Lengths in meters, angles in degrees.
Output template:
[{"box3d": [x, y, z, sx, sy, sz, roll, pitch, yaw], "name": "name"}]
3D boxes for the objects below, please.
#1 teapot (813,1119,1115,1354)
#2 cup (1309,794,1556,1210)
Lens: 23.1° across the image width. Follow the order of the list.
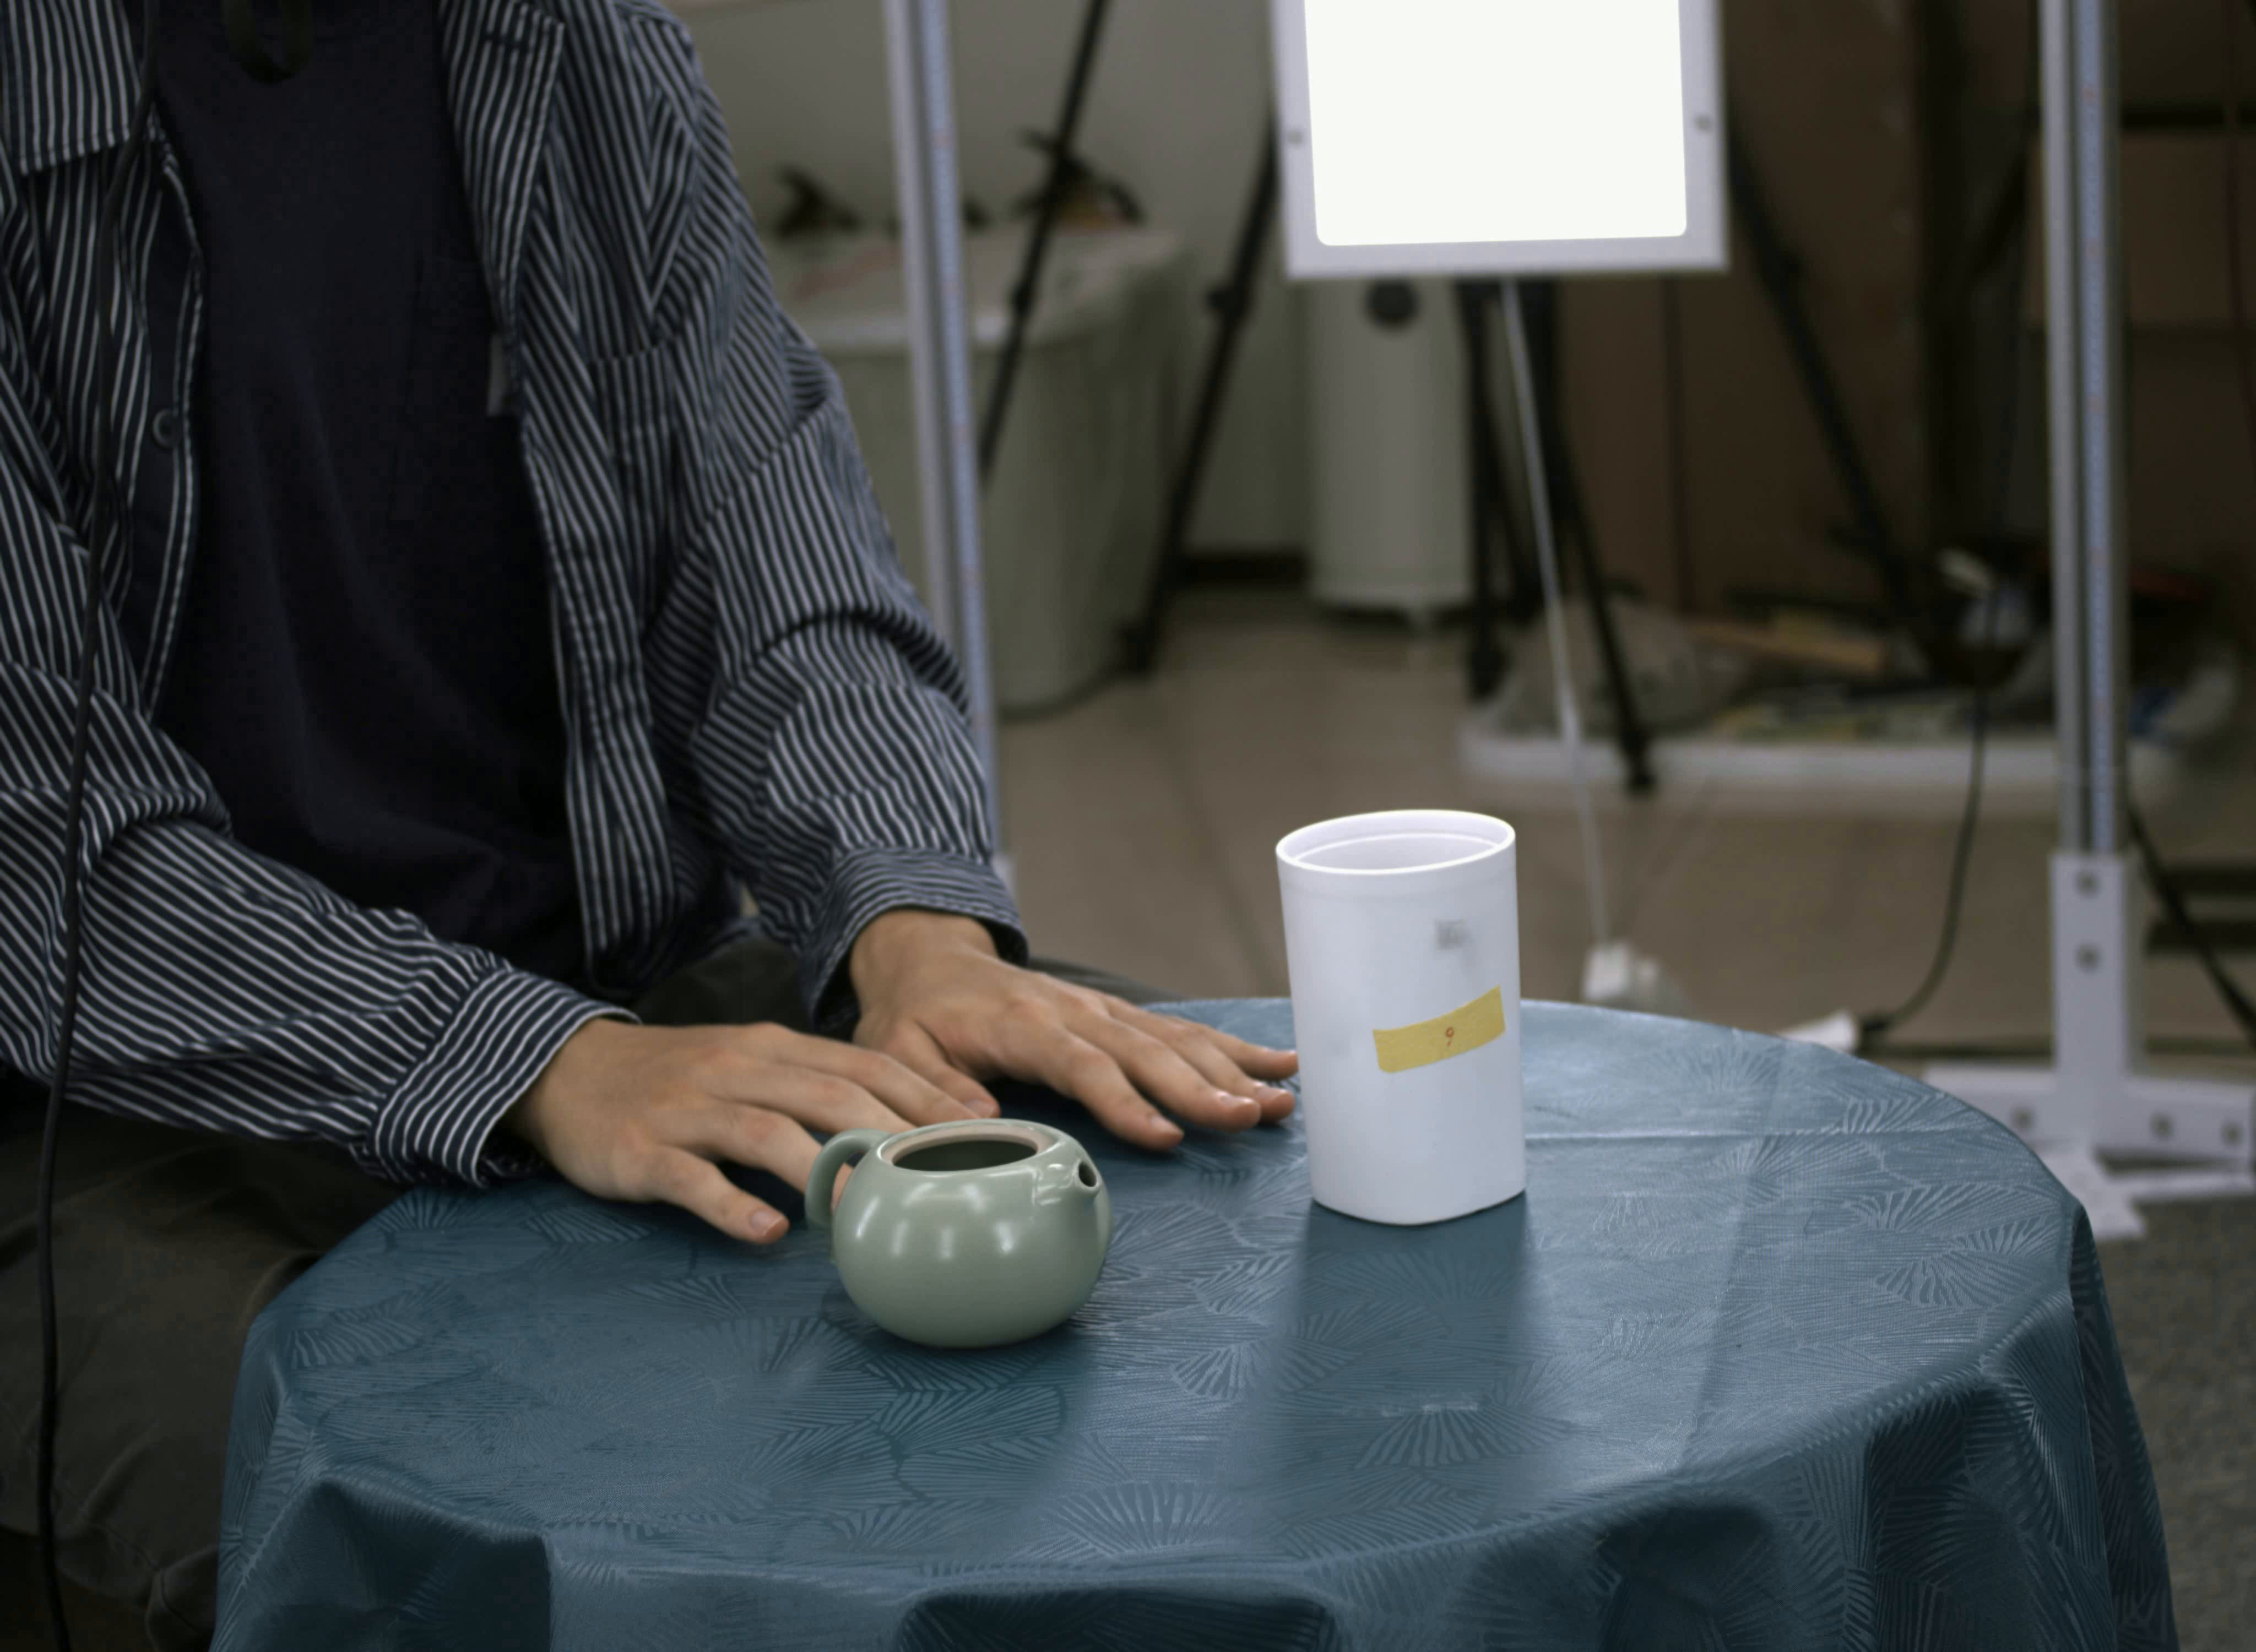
[{"box3d": [-0.056, 0.131, 1.774, 0.089, 0.061, 0.131, -20, 19, -41], "name": "teapot"}, {"box3d": [0.106, 0.059, 1.853, 0.081, 0.126, 0.081, -5, 14, 0], "name": "cup"}]
